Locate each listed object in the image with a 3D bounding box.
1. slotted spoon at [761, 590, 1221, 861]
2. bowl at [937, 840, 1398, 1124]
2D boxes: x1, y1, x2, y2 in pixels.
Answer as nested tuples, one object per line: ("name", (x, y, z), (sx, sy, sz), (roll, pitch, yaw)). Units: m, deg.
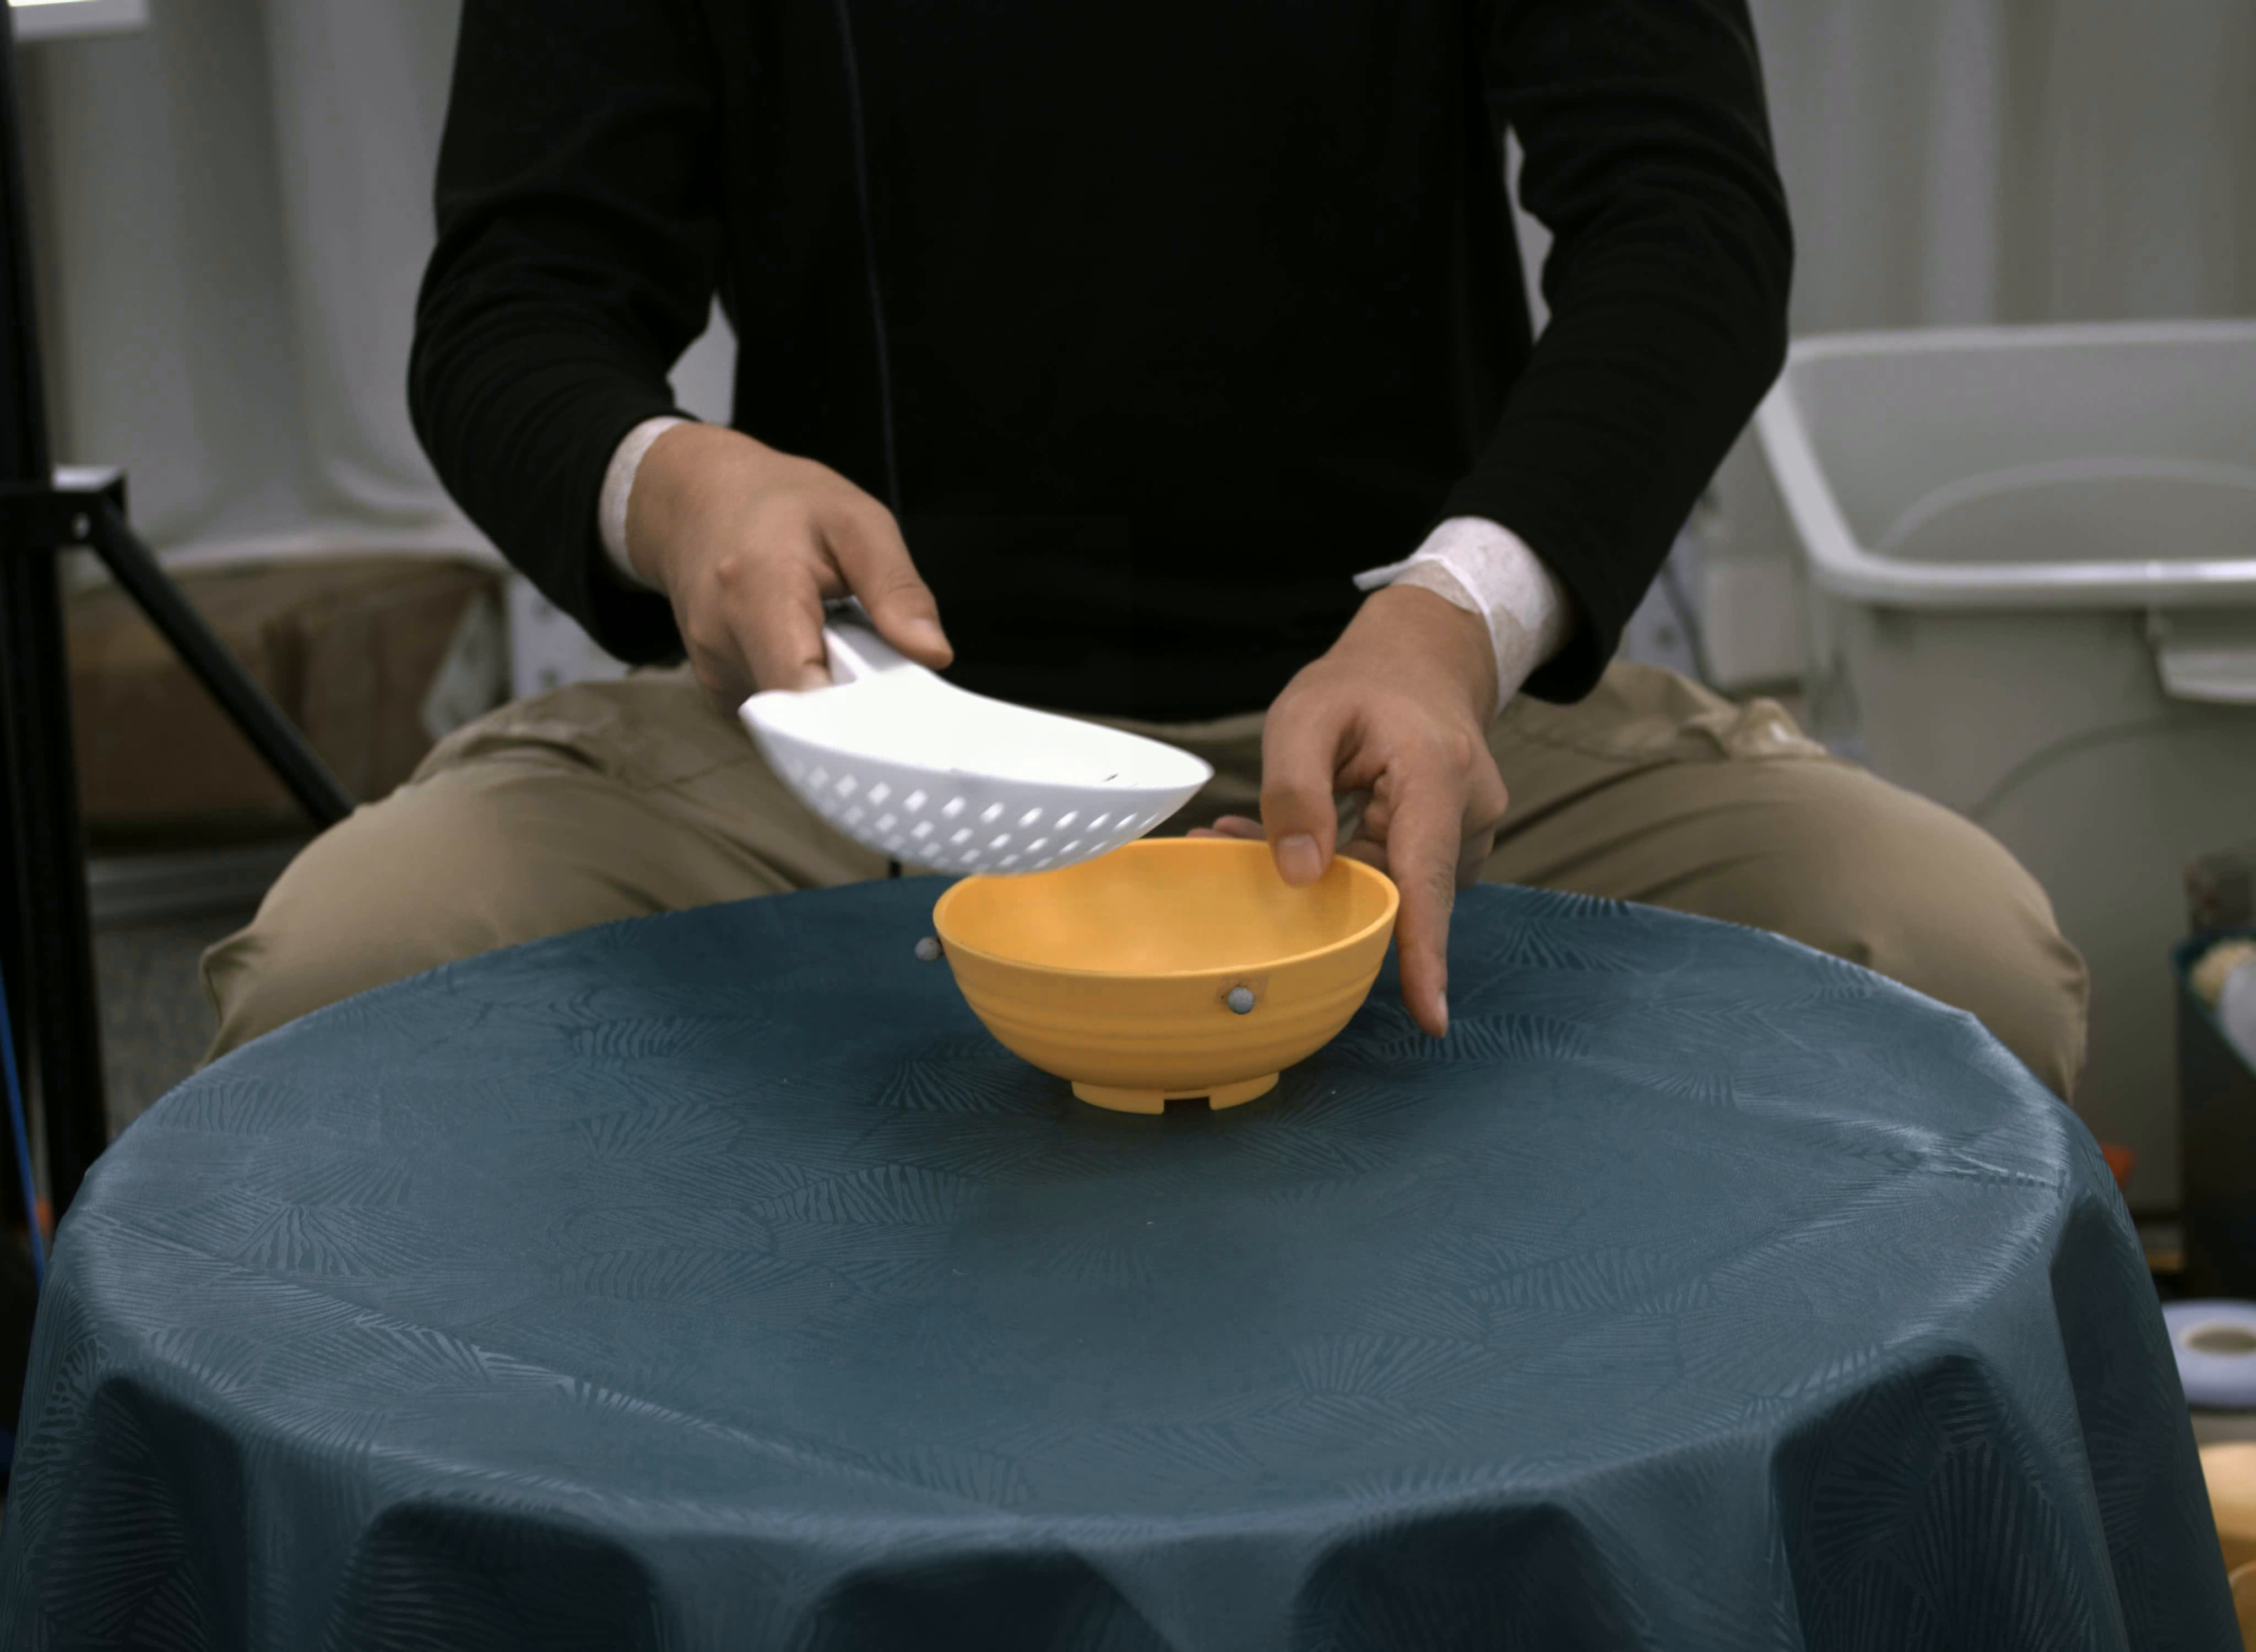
("slotted spoon", (-0.067, -0.042, 1.644), (0.134, 0.046, 0.354), (7, 13, -14))
("bowl", (0.012, 0.054, 1.650), (0.144, 0.060, 0.146), (-1, 17, -1))
